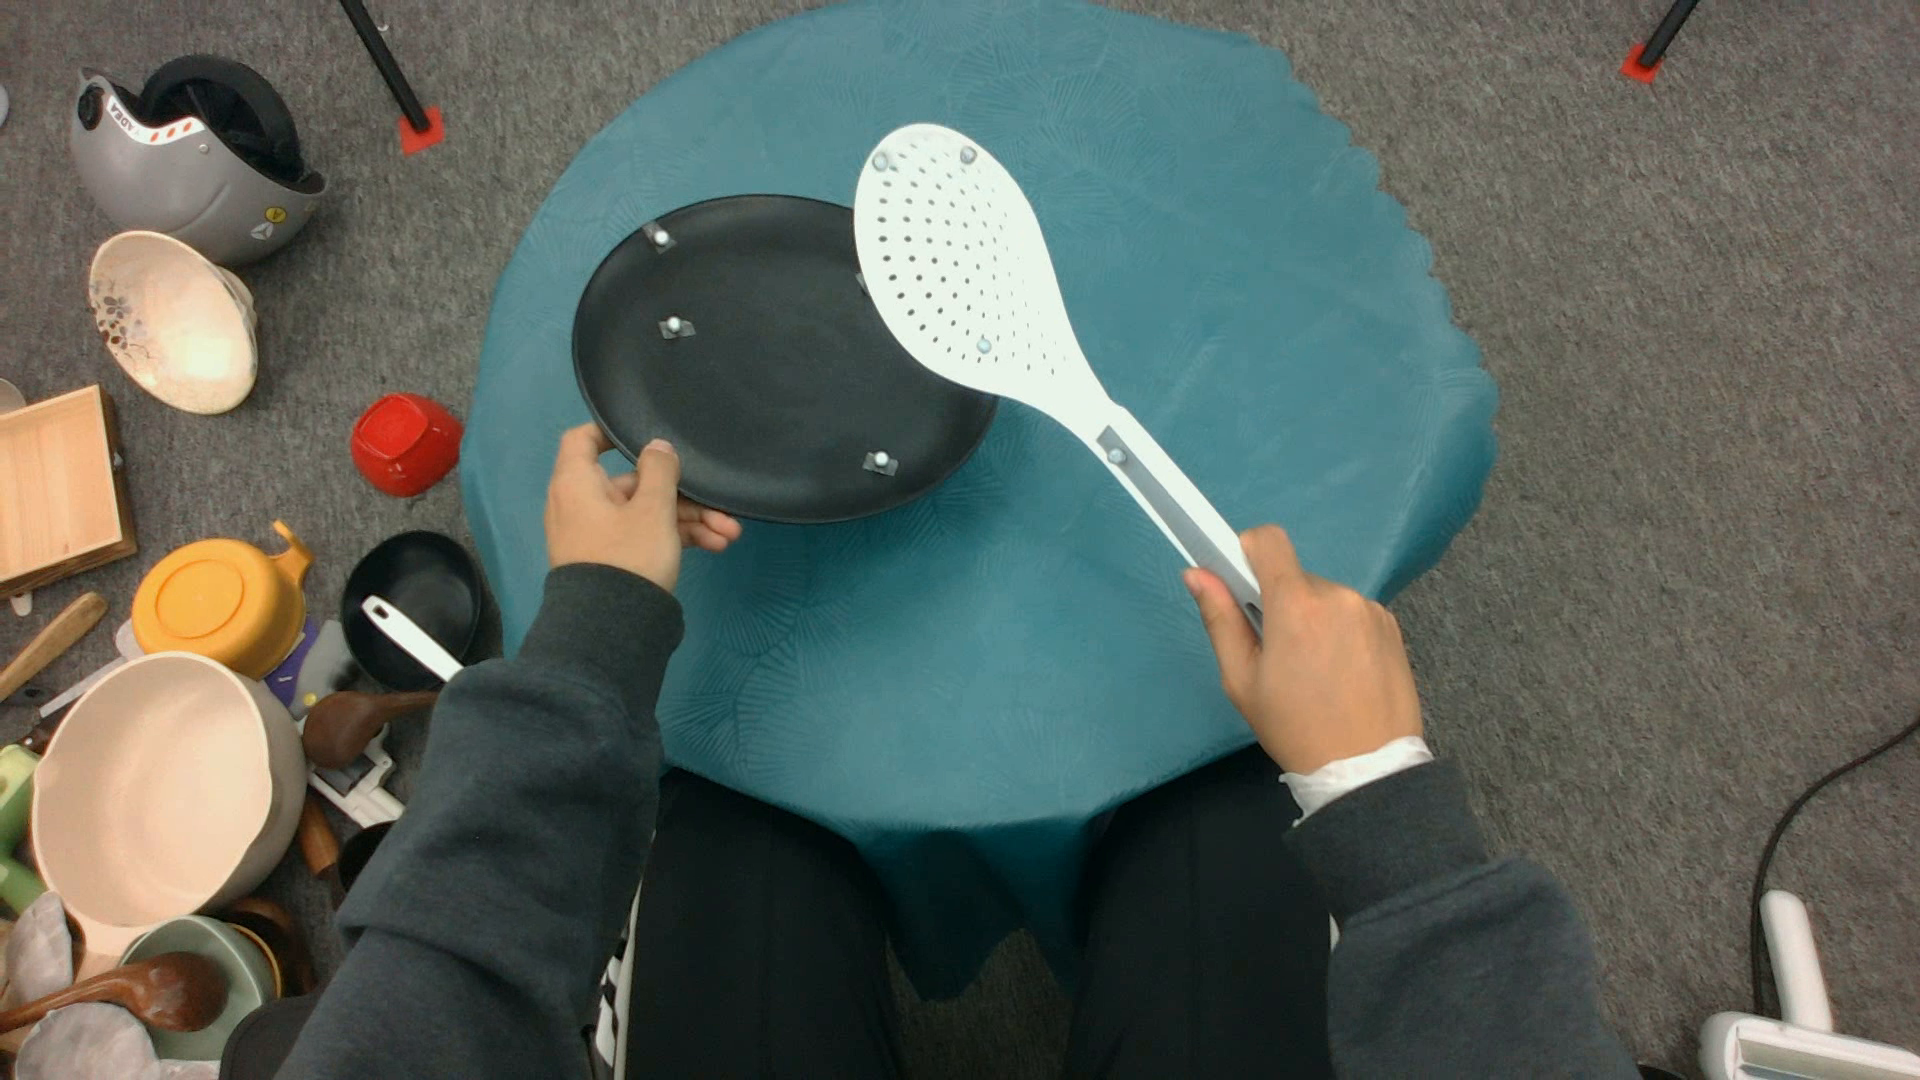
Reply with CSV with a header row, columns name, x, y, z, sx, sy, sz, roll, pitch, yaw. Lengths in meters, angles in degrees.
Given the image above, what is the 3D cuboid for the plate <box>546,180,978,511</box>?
name,x,y,z,sx,sy,sz,roll,pitch,yaw
plate,-0.110,-0.114,0.791,0.244,0.023,0.245,7,56,-10

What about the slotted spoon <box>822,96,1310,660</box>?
name,x,y,z,sx,sy,sz,roll,pitch,yaw
slotted spoon,0.049,-0.080,0.688,0.046,0.135,0.350,-26,72,-35
